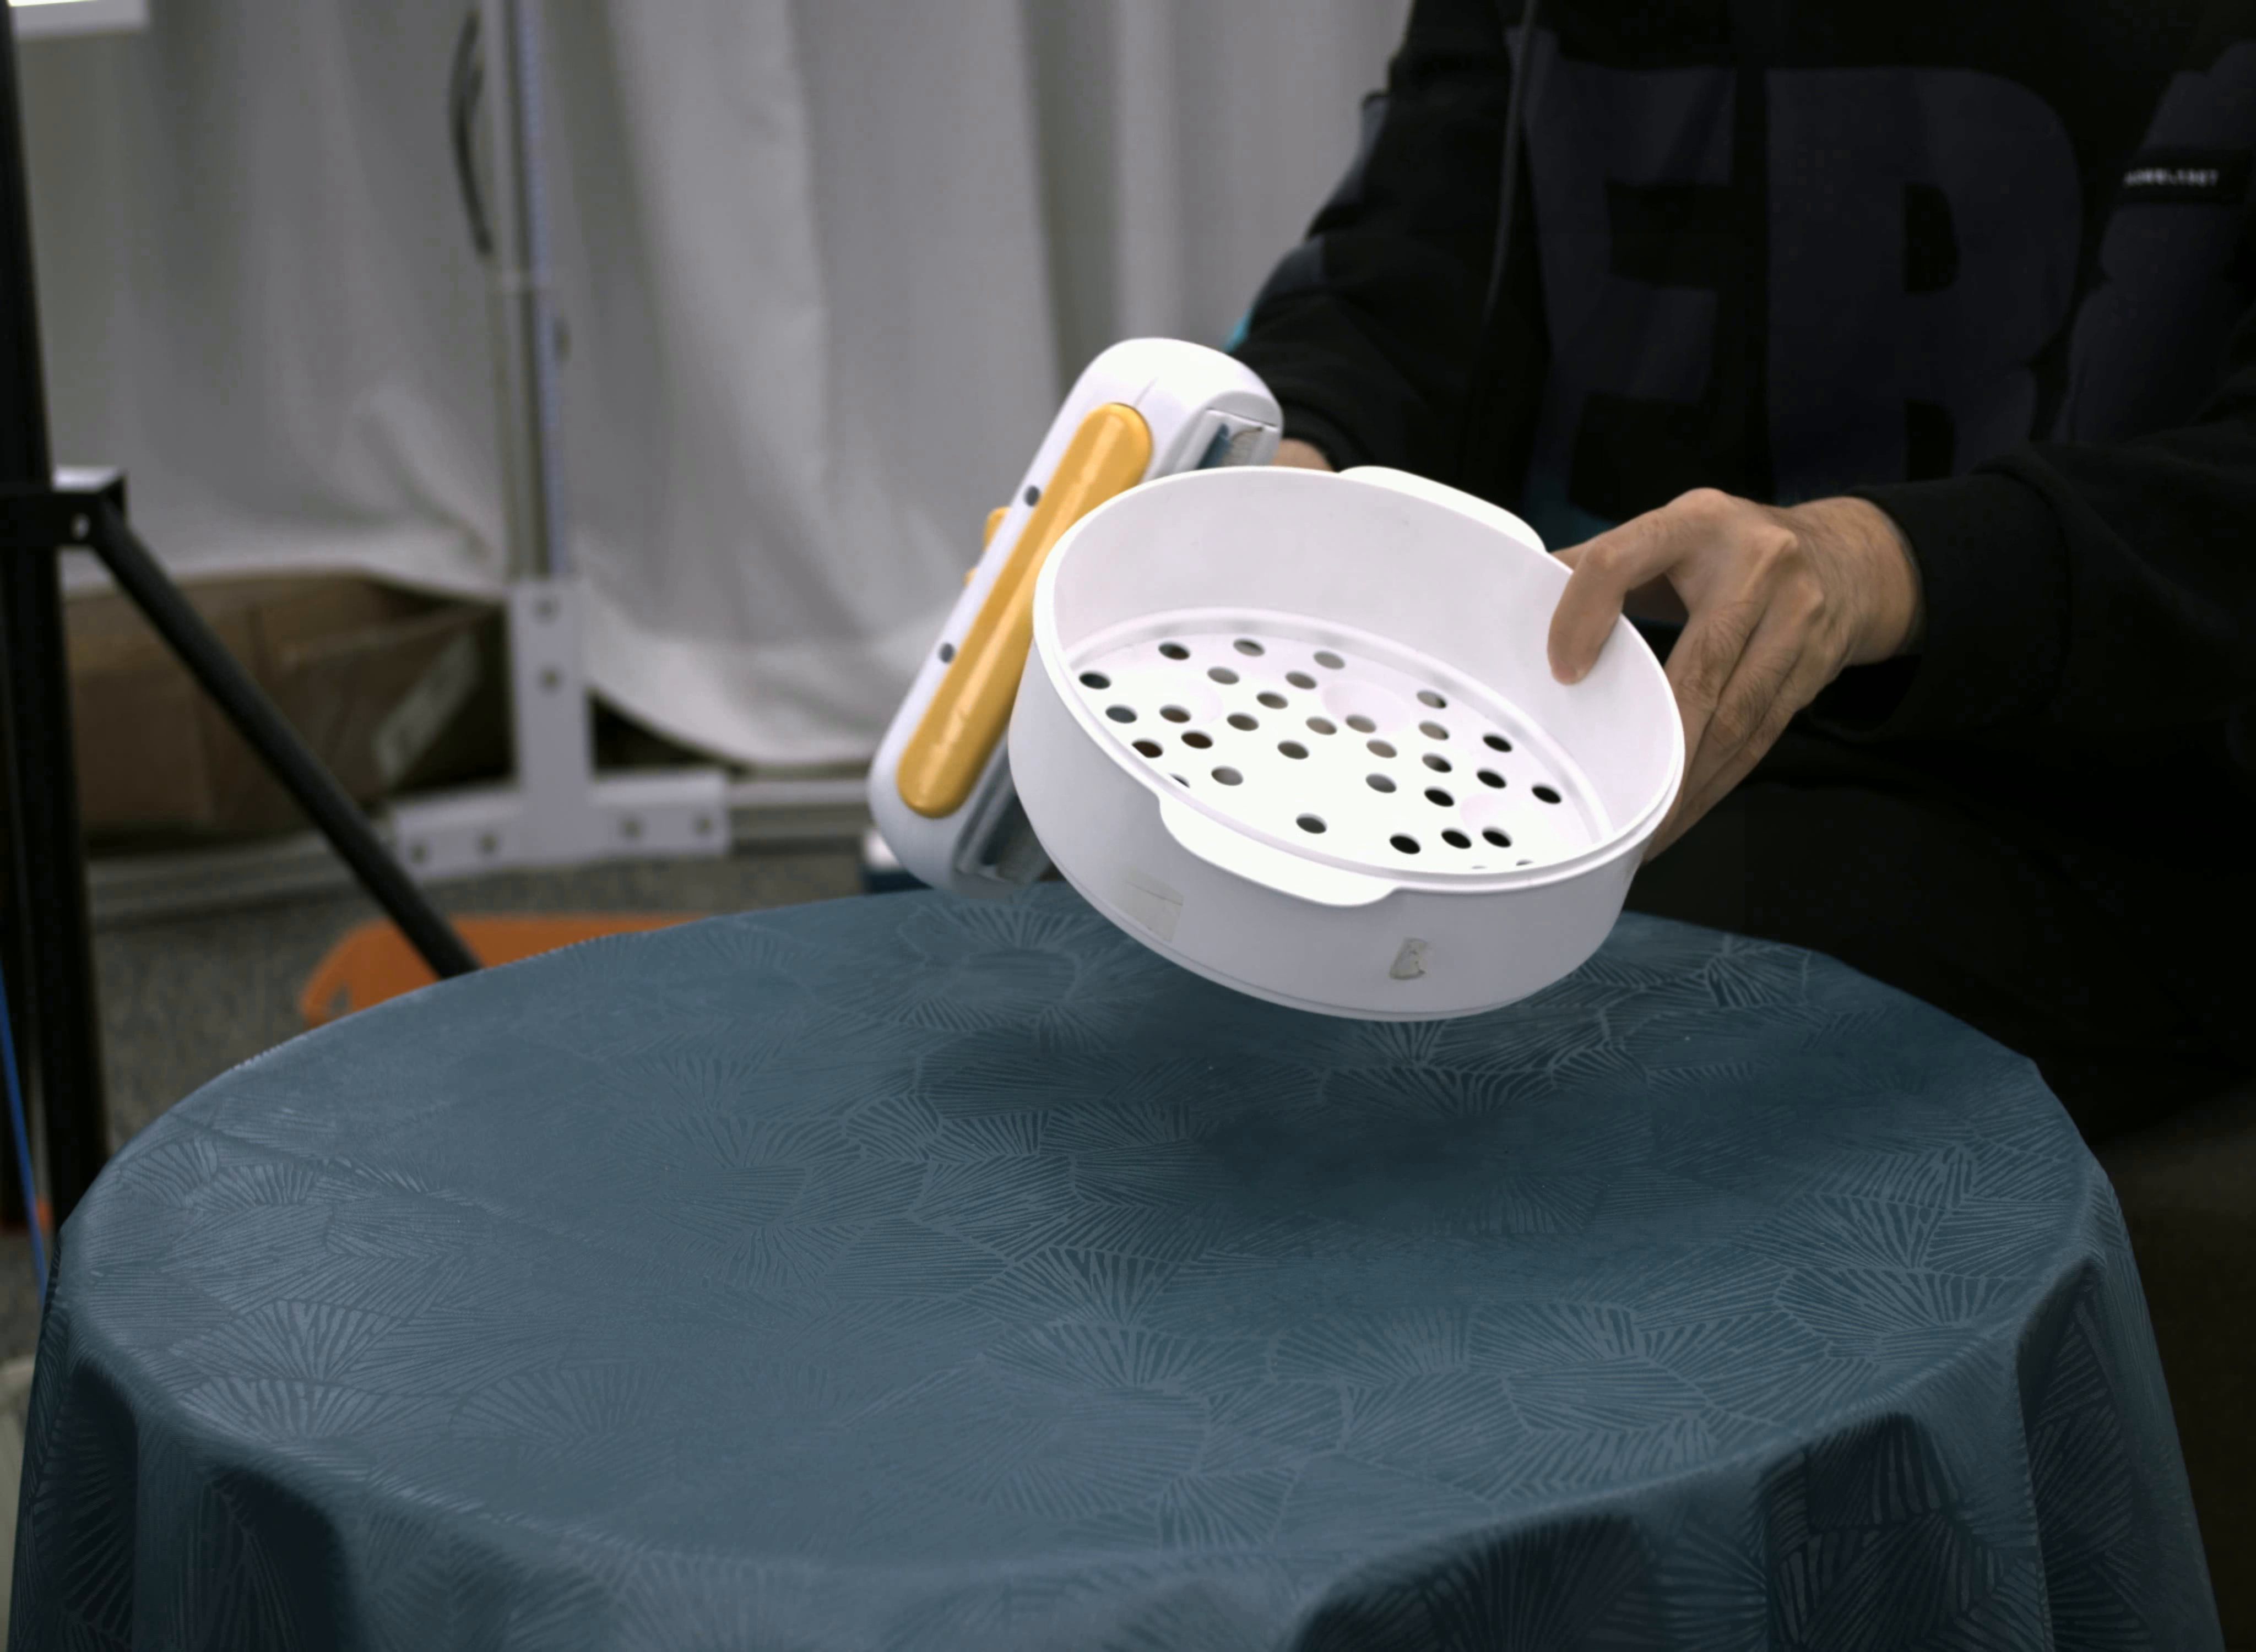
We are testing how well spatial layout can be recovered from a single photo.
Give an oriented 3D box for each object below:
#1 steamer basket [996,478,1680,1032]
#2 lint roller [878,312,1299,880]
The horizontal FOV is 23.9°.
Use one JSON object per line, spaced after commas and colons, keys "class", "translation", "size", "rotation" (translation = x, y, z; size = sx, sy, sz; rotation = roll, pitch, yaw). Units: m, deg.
{"class": "steamer basket", "translation": [0.061, -0.020, 1.589], "size": [0.202, 0.069, 0.229], "rotation": [21, 35, 7]}
{"class": "lint roller", "translation": [0.003, -0.072, 1.742], "size": [0.075, 0.193, 0.188], "rotation": [29, 8, 22]}
